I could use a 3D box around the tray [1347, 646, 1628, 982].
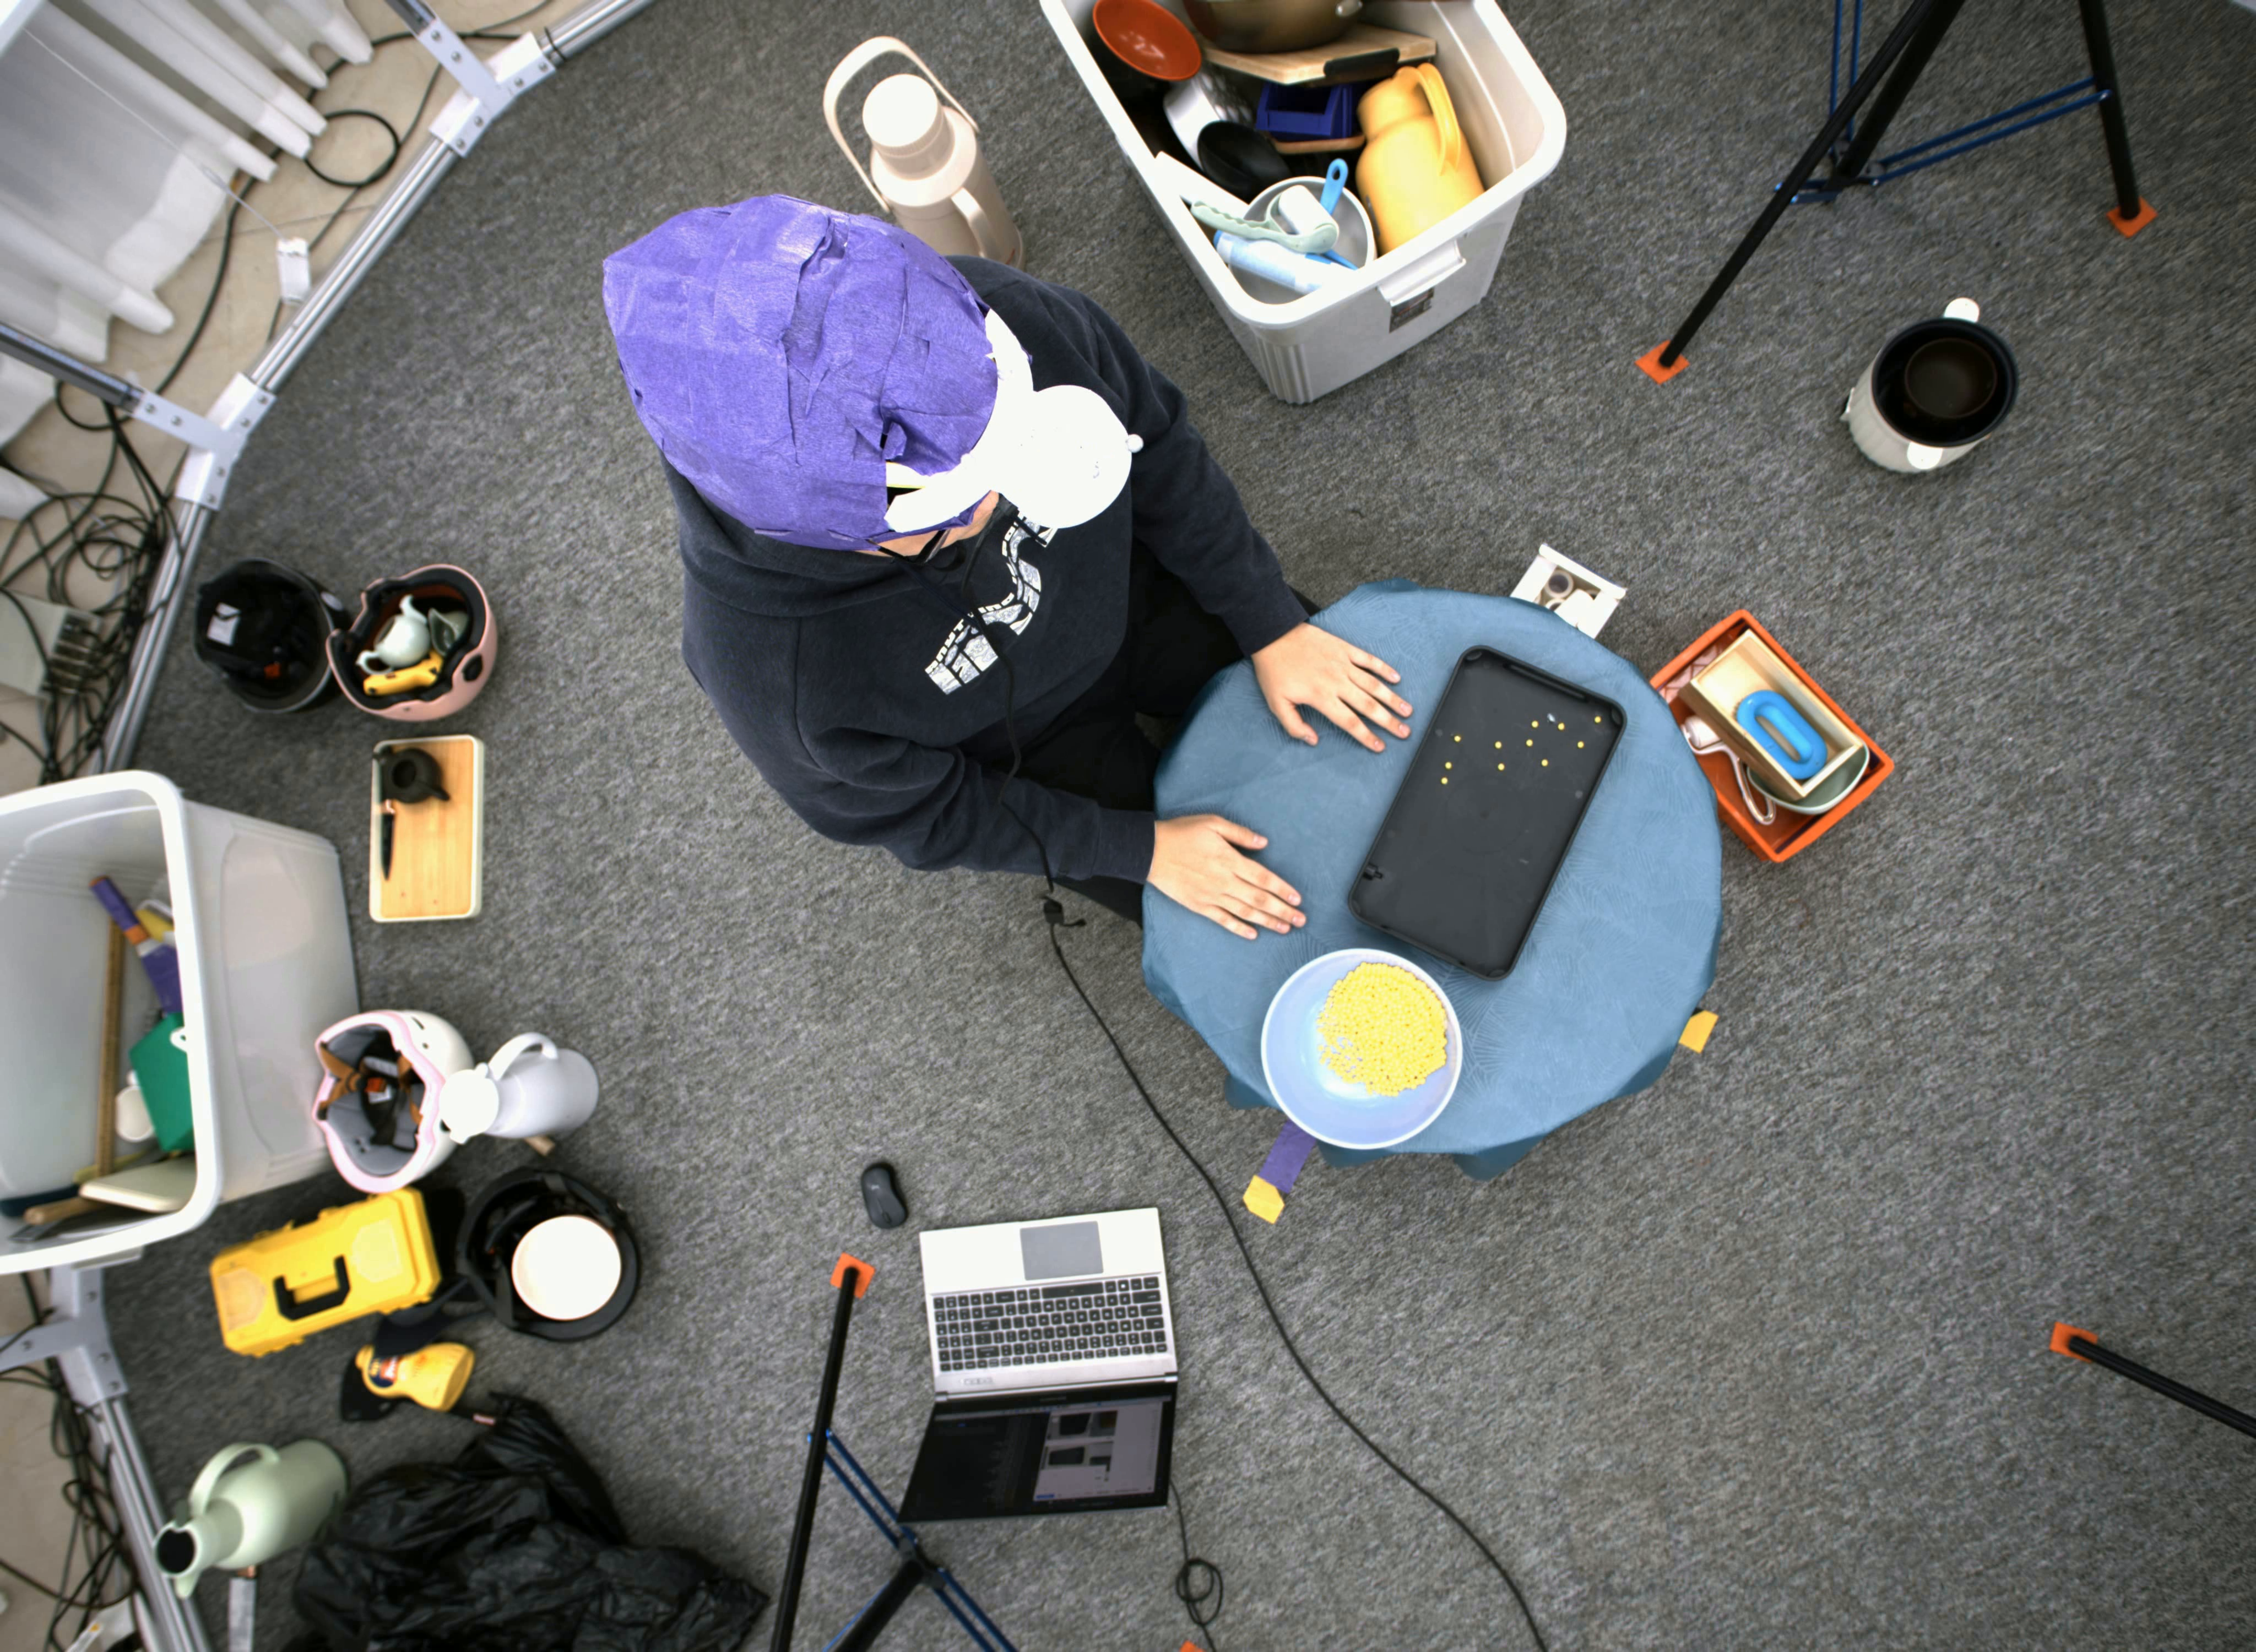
[{"bbox_3d":[0.371,-0.015,1.427,0.184,0.037,0.318,26,91,12],"label":"tray"}]

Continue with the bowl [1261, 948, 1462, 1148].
[{"bbox_3d":[0.237,0.222,1.410,0.197,0.095,0.195,-1,87,11],"label":"bowl"}]
